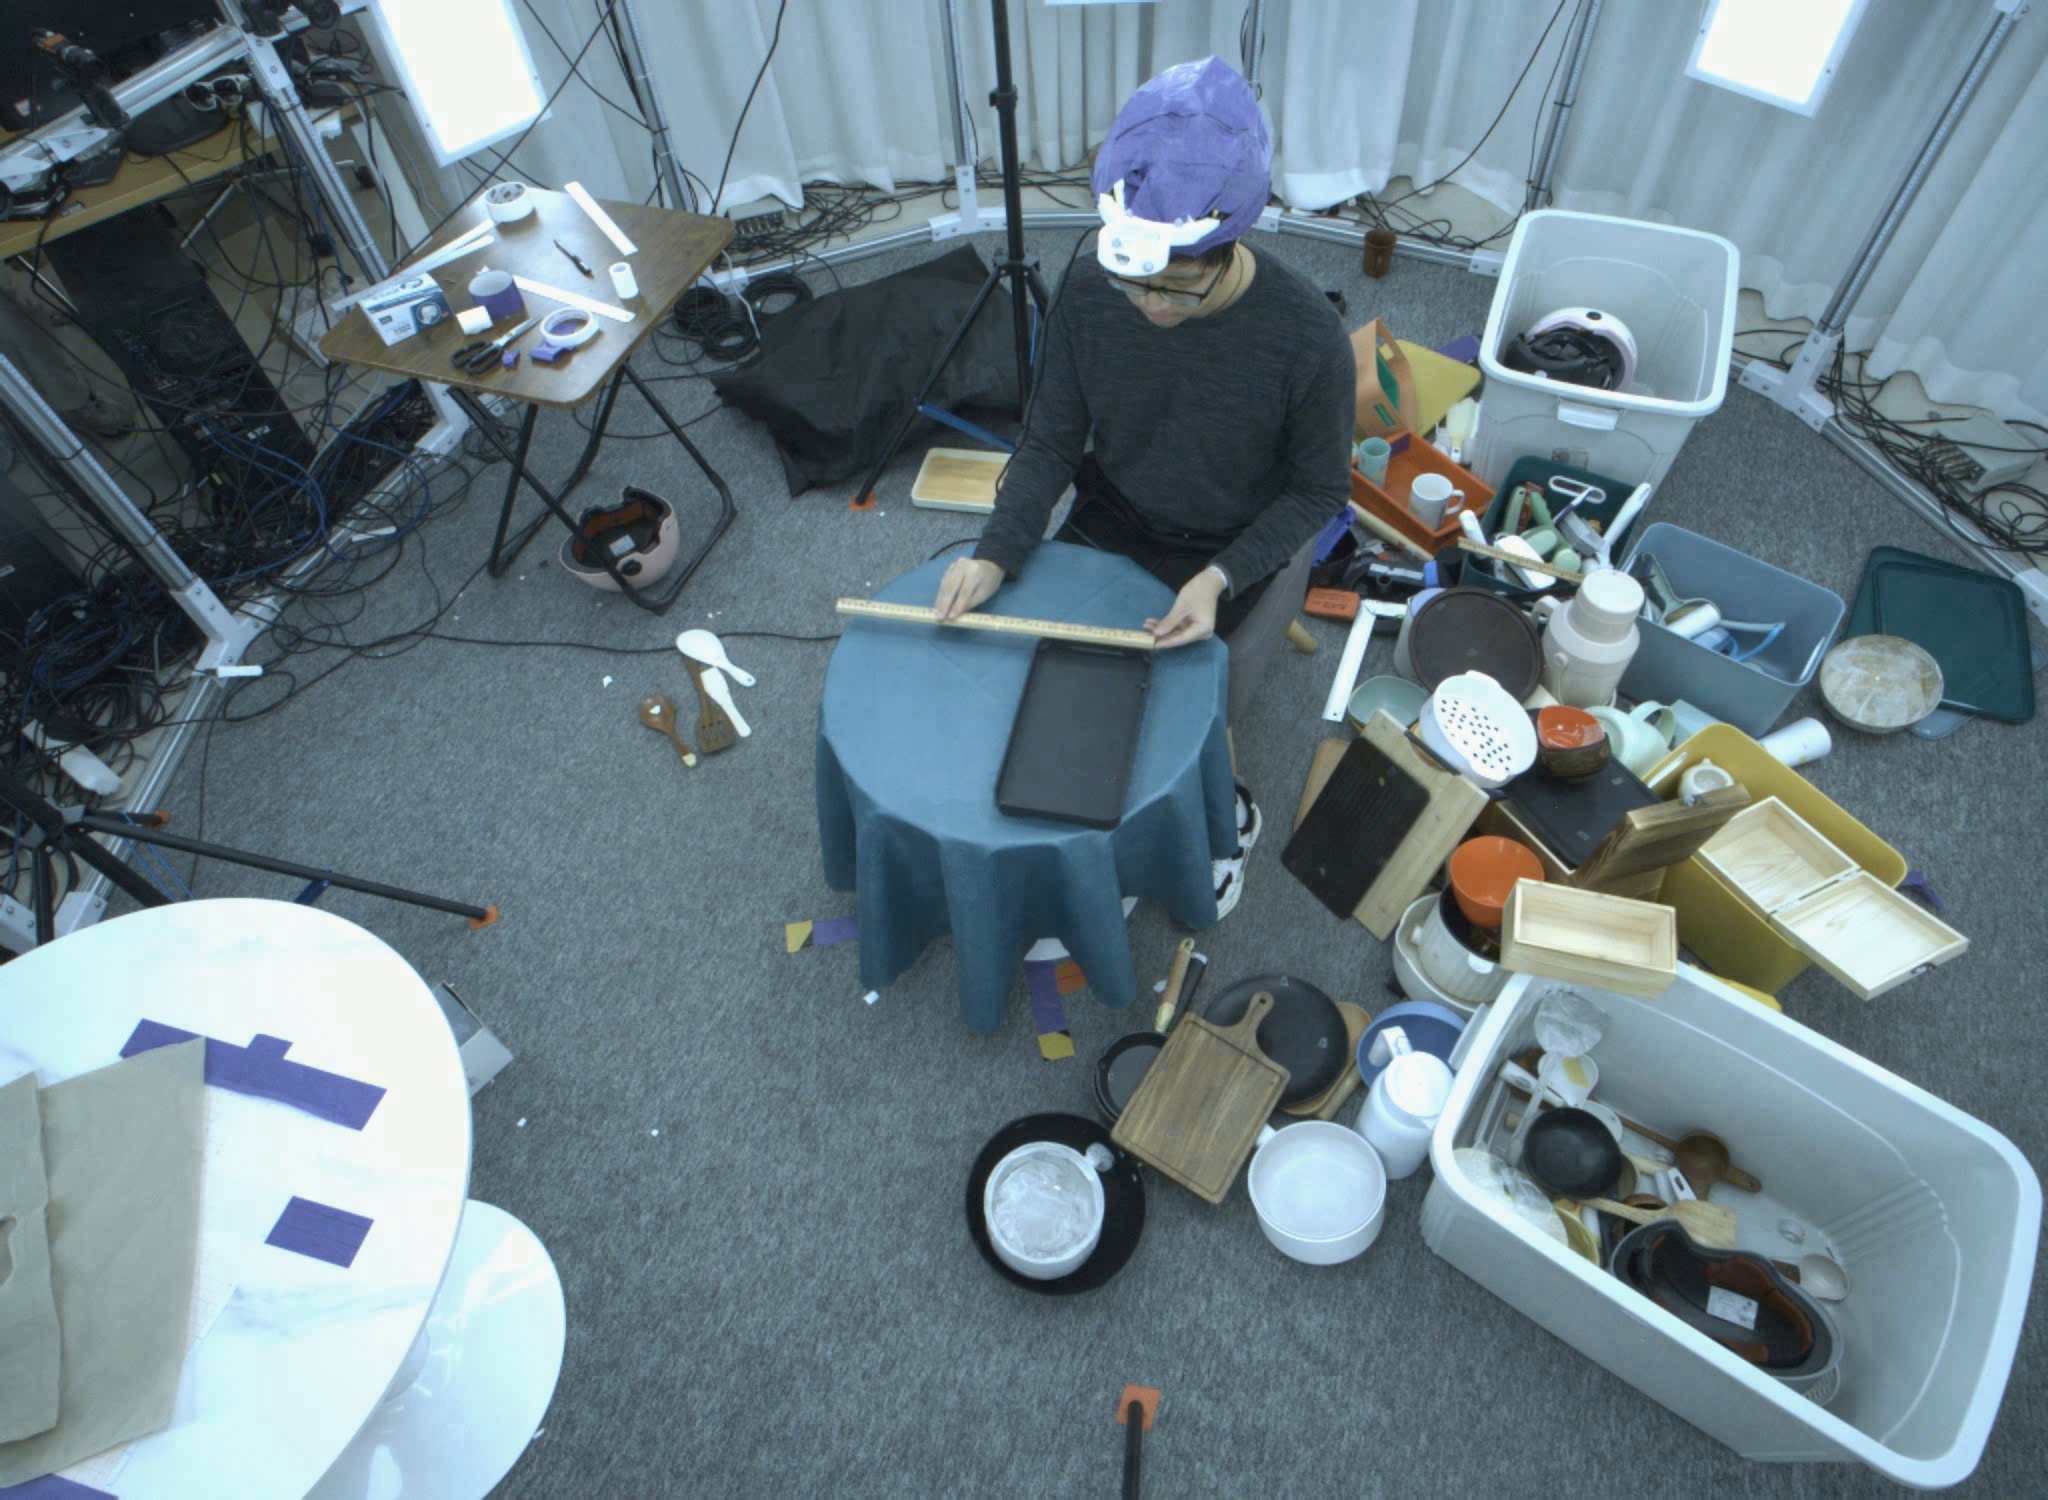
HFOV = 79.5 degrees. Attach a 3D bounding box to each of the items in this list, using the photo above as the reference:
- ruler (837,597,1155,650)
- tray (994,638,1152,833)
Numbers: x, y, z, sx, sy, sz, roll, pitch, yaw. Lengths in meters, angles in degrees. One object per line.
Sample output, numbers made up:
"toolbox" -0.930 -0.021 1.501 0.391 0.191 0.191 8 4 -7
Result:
"ruler" -0.049 -0.196 1.880 0.497 0.006 0.026 8 67 8
"tray" 0.075 -0.027 1.783 0.183 0.037 0.316 8 55 7
